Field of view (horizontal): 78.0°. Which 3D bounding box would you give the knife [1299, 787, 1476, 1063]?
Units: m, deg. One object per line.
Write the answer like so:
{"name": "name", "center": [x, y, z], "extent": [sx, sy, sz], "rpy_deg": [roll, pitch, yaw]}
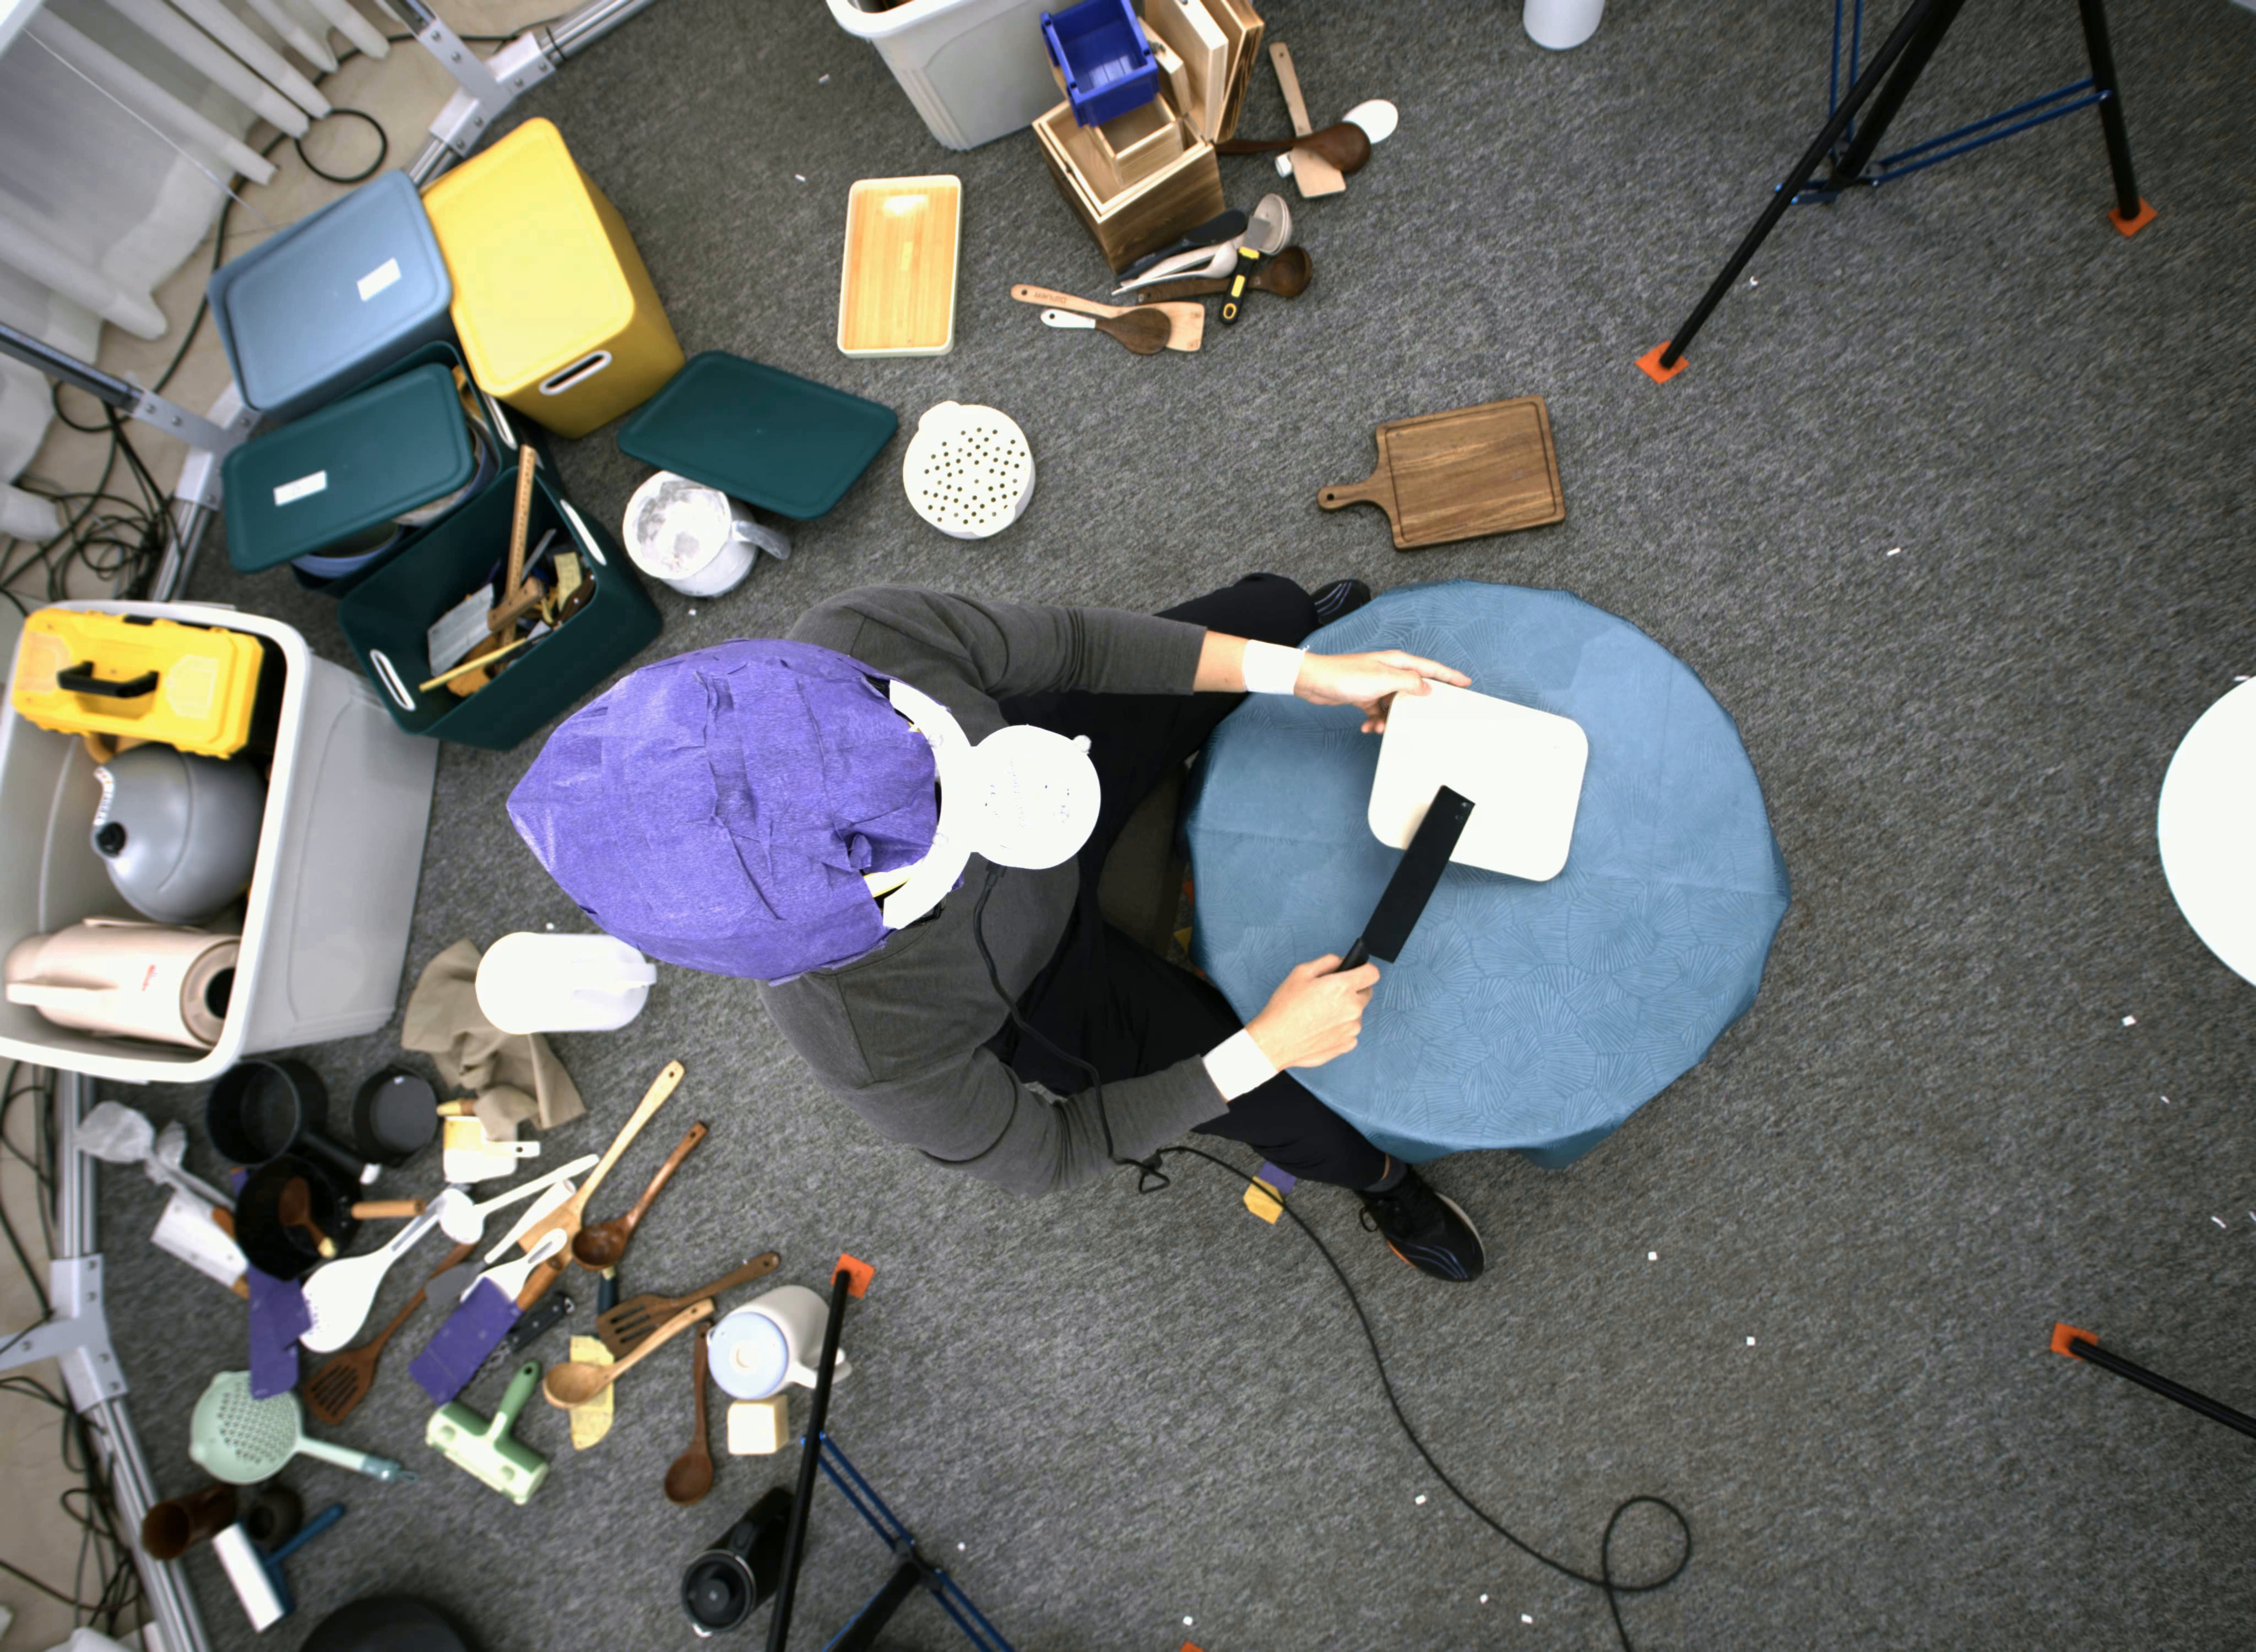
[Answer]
{"name": "knife", "center": [0.254, 0.099, 1.358], "extent": [0.020, 0.081, 0.303], "rpy_deg": [36, 98, 48]}

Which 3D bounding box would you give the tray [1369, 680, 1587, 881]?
{"name": "tray", "center": [0.354, -0.046, 1.384], "extent": [0.239, 0.017, 0.171], "rpy_deg": [11, 91, -20]}
